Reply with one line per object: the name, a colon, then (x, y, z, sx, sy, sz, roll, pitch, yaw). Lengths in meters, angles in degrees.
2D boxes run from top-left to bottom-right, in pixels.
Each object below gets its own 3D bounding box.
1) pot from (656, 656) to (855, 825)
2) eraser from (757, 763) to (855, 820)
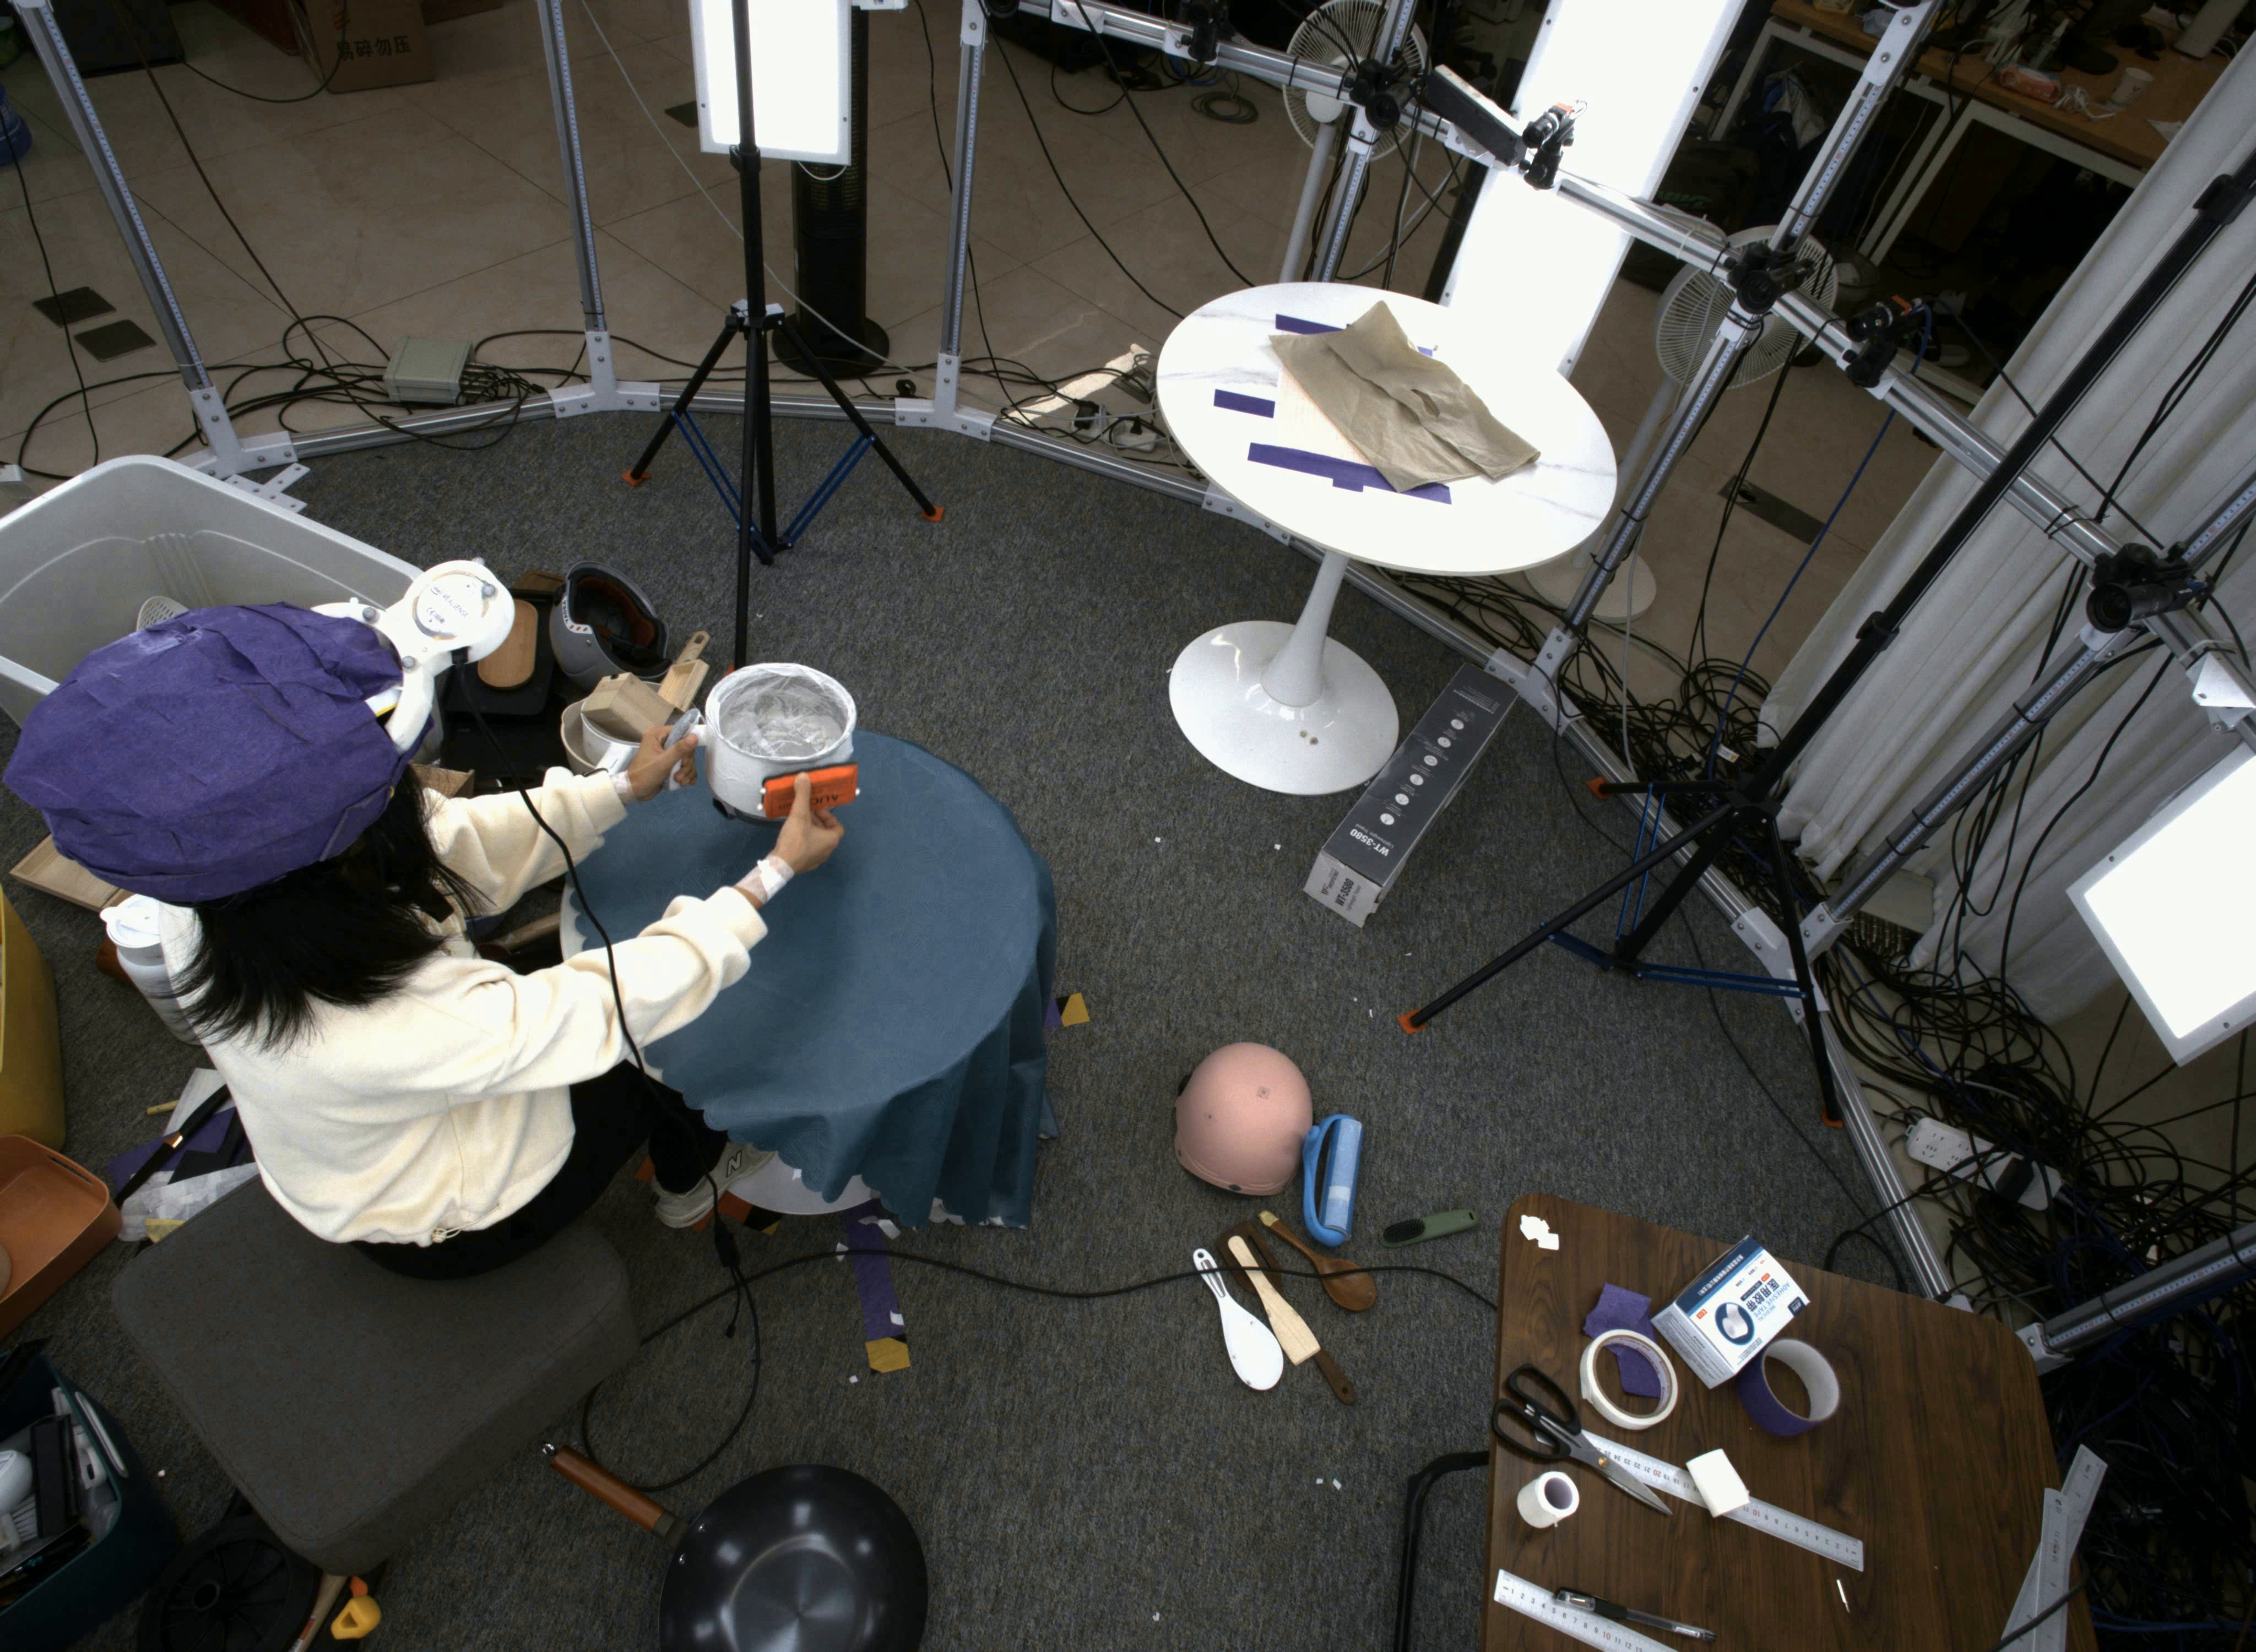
pot: (-0.451, -0.099, 1.561, 0.236, 0.139, 0.173, -5, 46, -24)
eraser: (-0.373, -0.041, 1.500, 0.109, 0.060, 0.022, -13, 61, -29)
